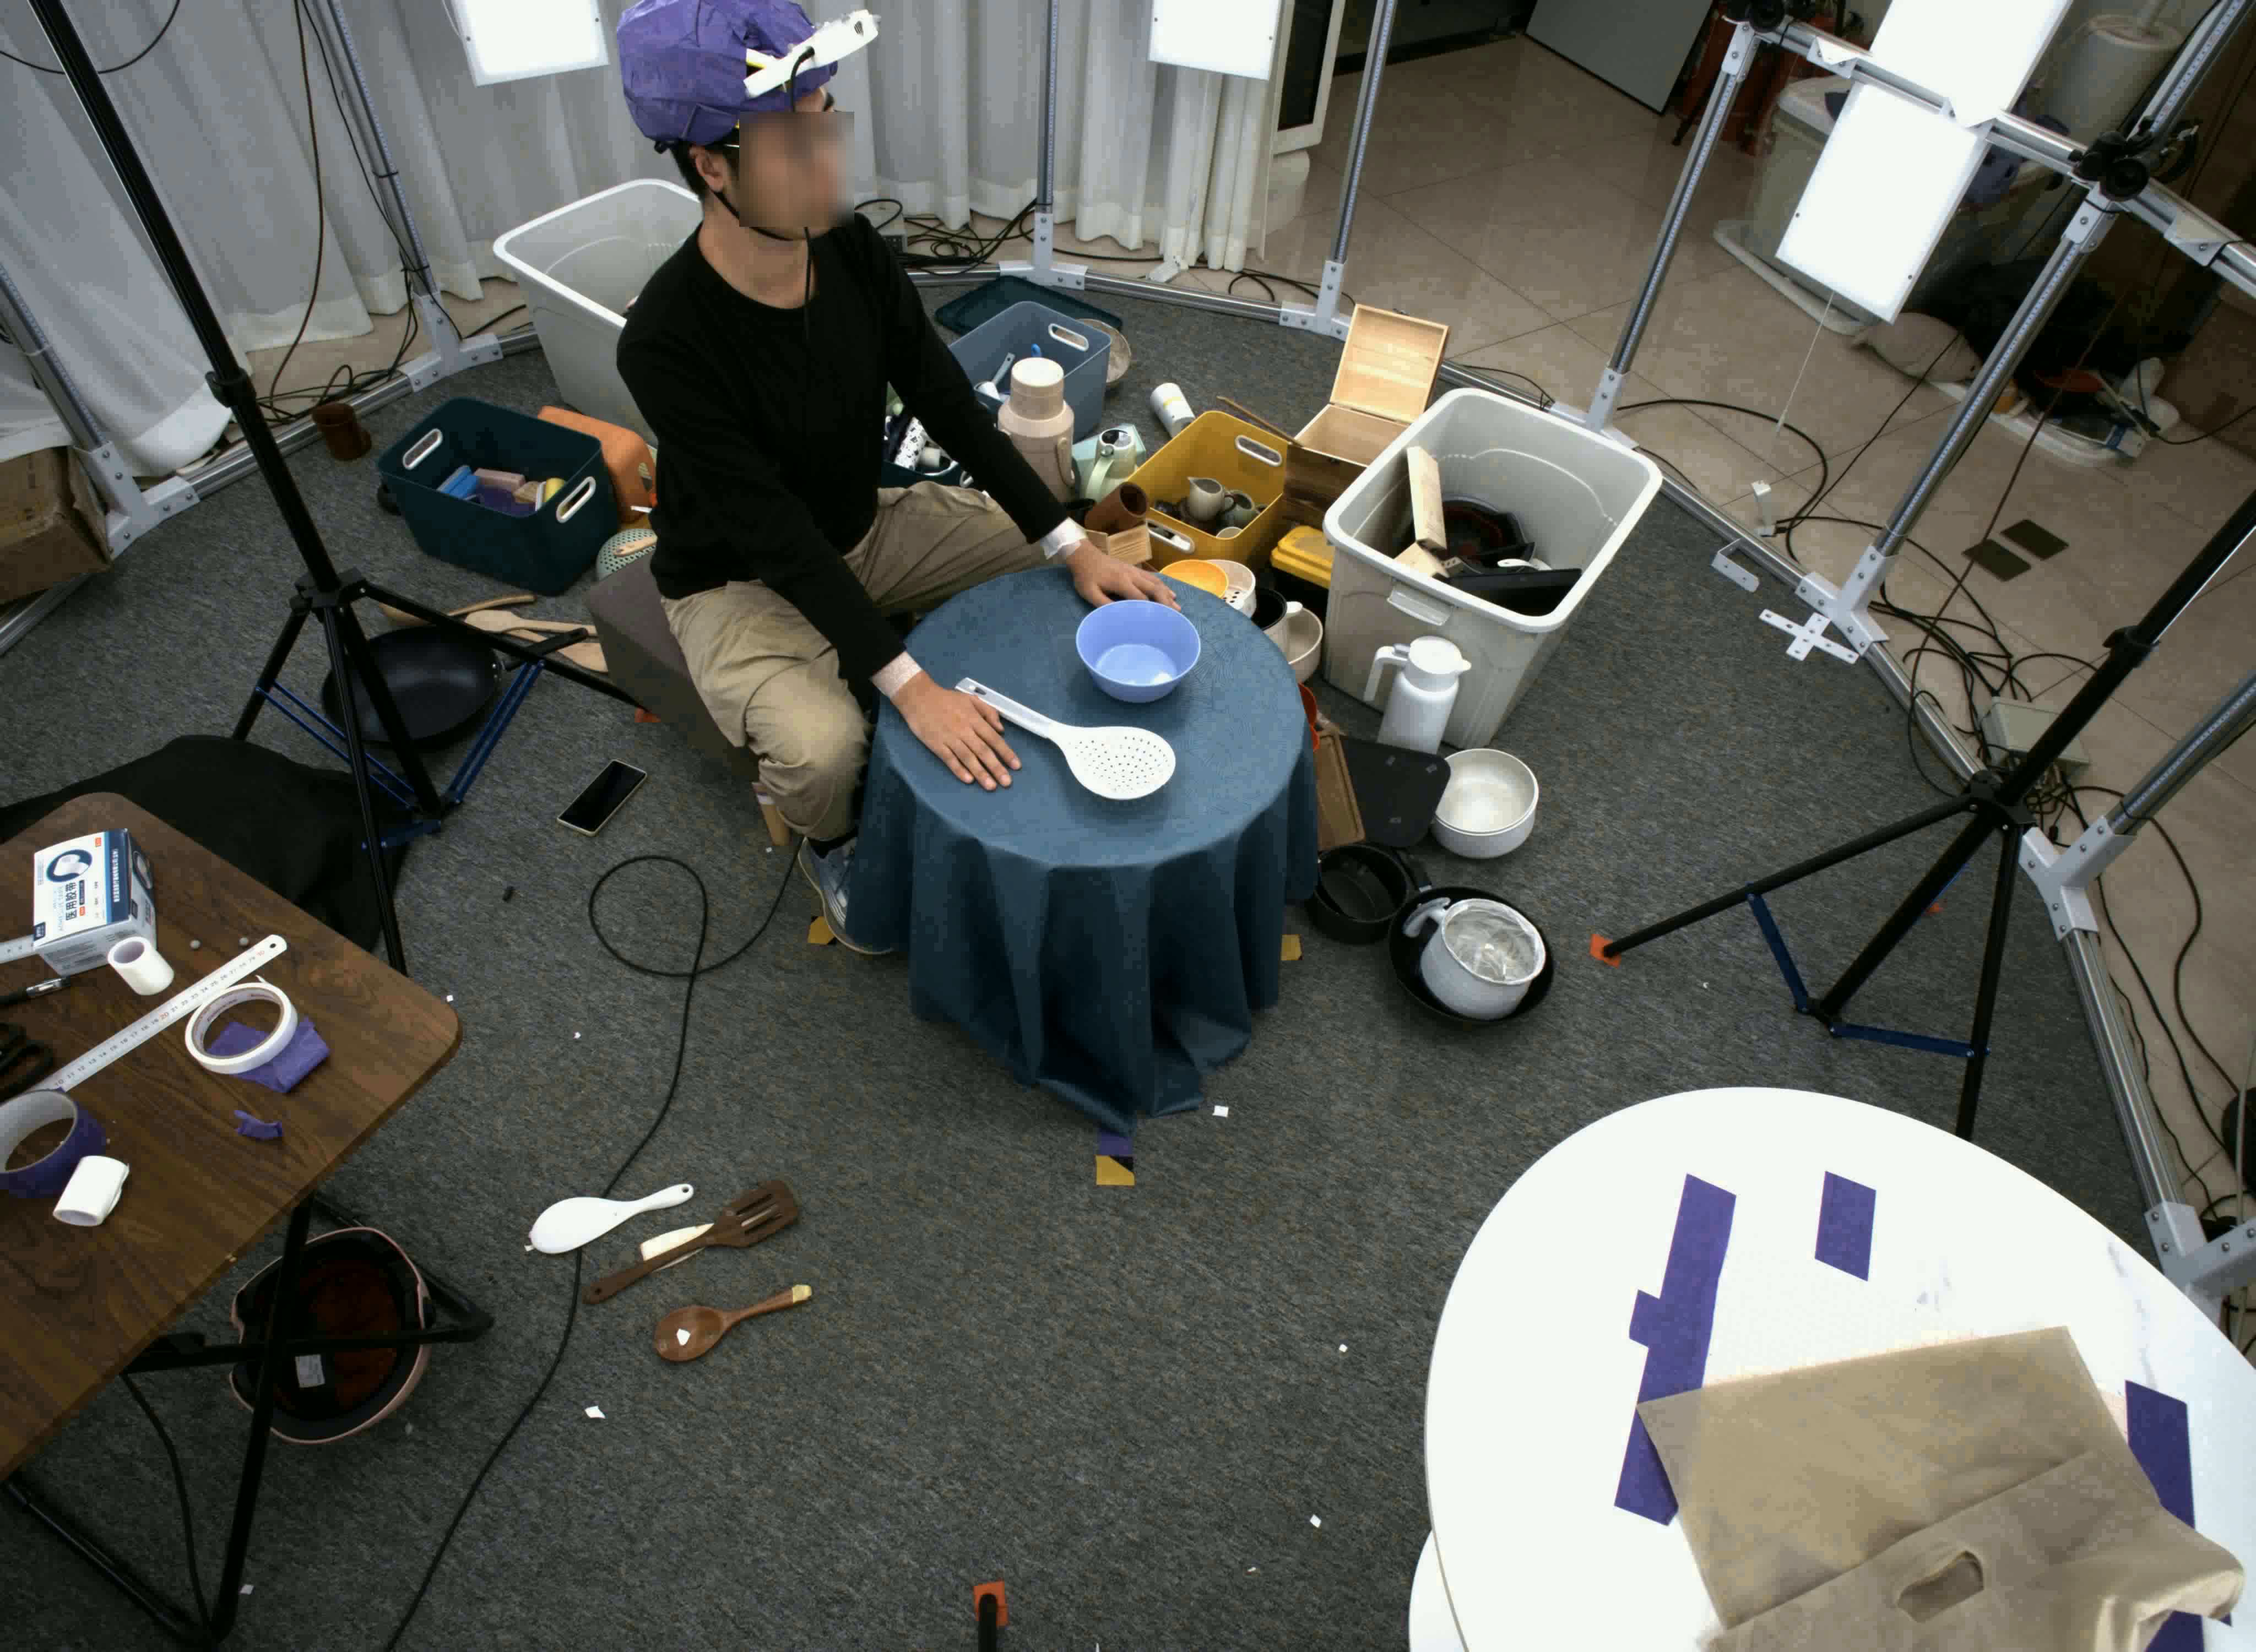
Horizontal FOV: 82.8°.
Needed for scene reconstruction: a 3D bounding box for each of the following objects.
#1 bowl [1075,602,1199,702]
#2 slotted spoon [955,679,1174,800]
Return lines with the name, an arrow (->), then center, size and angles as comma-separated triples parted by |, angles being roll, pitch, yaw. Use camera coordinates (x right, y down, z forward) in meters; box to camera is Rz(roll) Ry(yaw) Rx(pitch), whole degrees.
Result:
bowl -> 0.012, -0.241, 1.835 | 0.176, 0.068, 0.180 | 1, 48, -2
slotted spoon -> -0.095, -0.125, 1.742 | 0.353, 0.044, 0.138 | 30, 54, 22
